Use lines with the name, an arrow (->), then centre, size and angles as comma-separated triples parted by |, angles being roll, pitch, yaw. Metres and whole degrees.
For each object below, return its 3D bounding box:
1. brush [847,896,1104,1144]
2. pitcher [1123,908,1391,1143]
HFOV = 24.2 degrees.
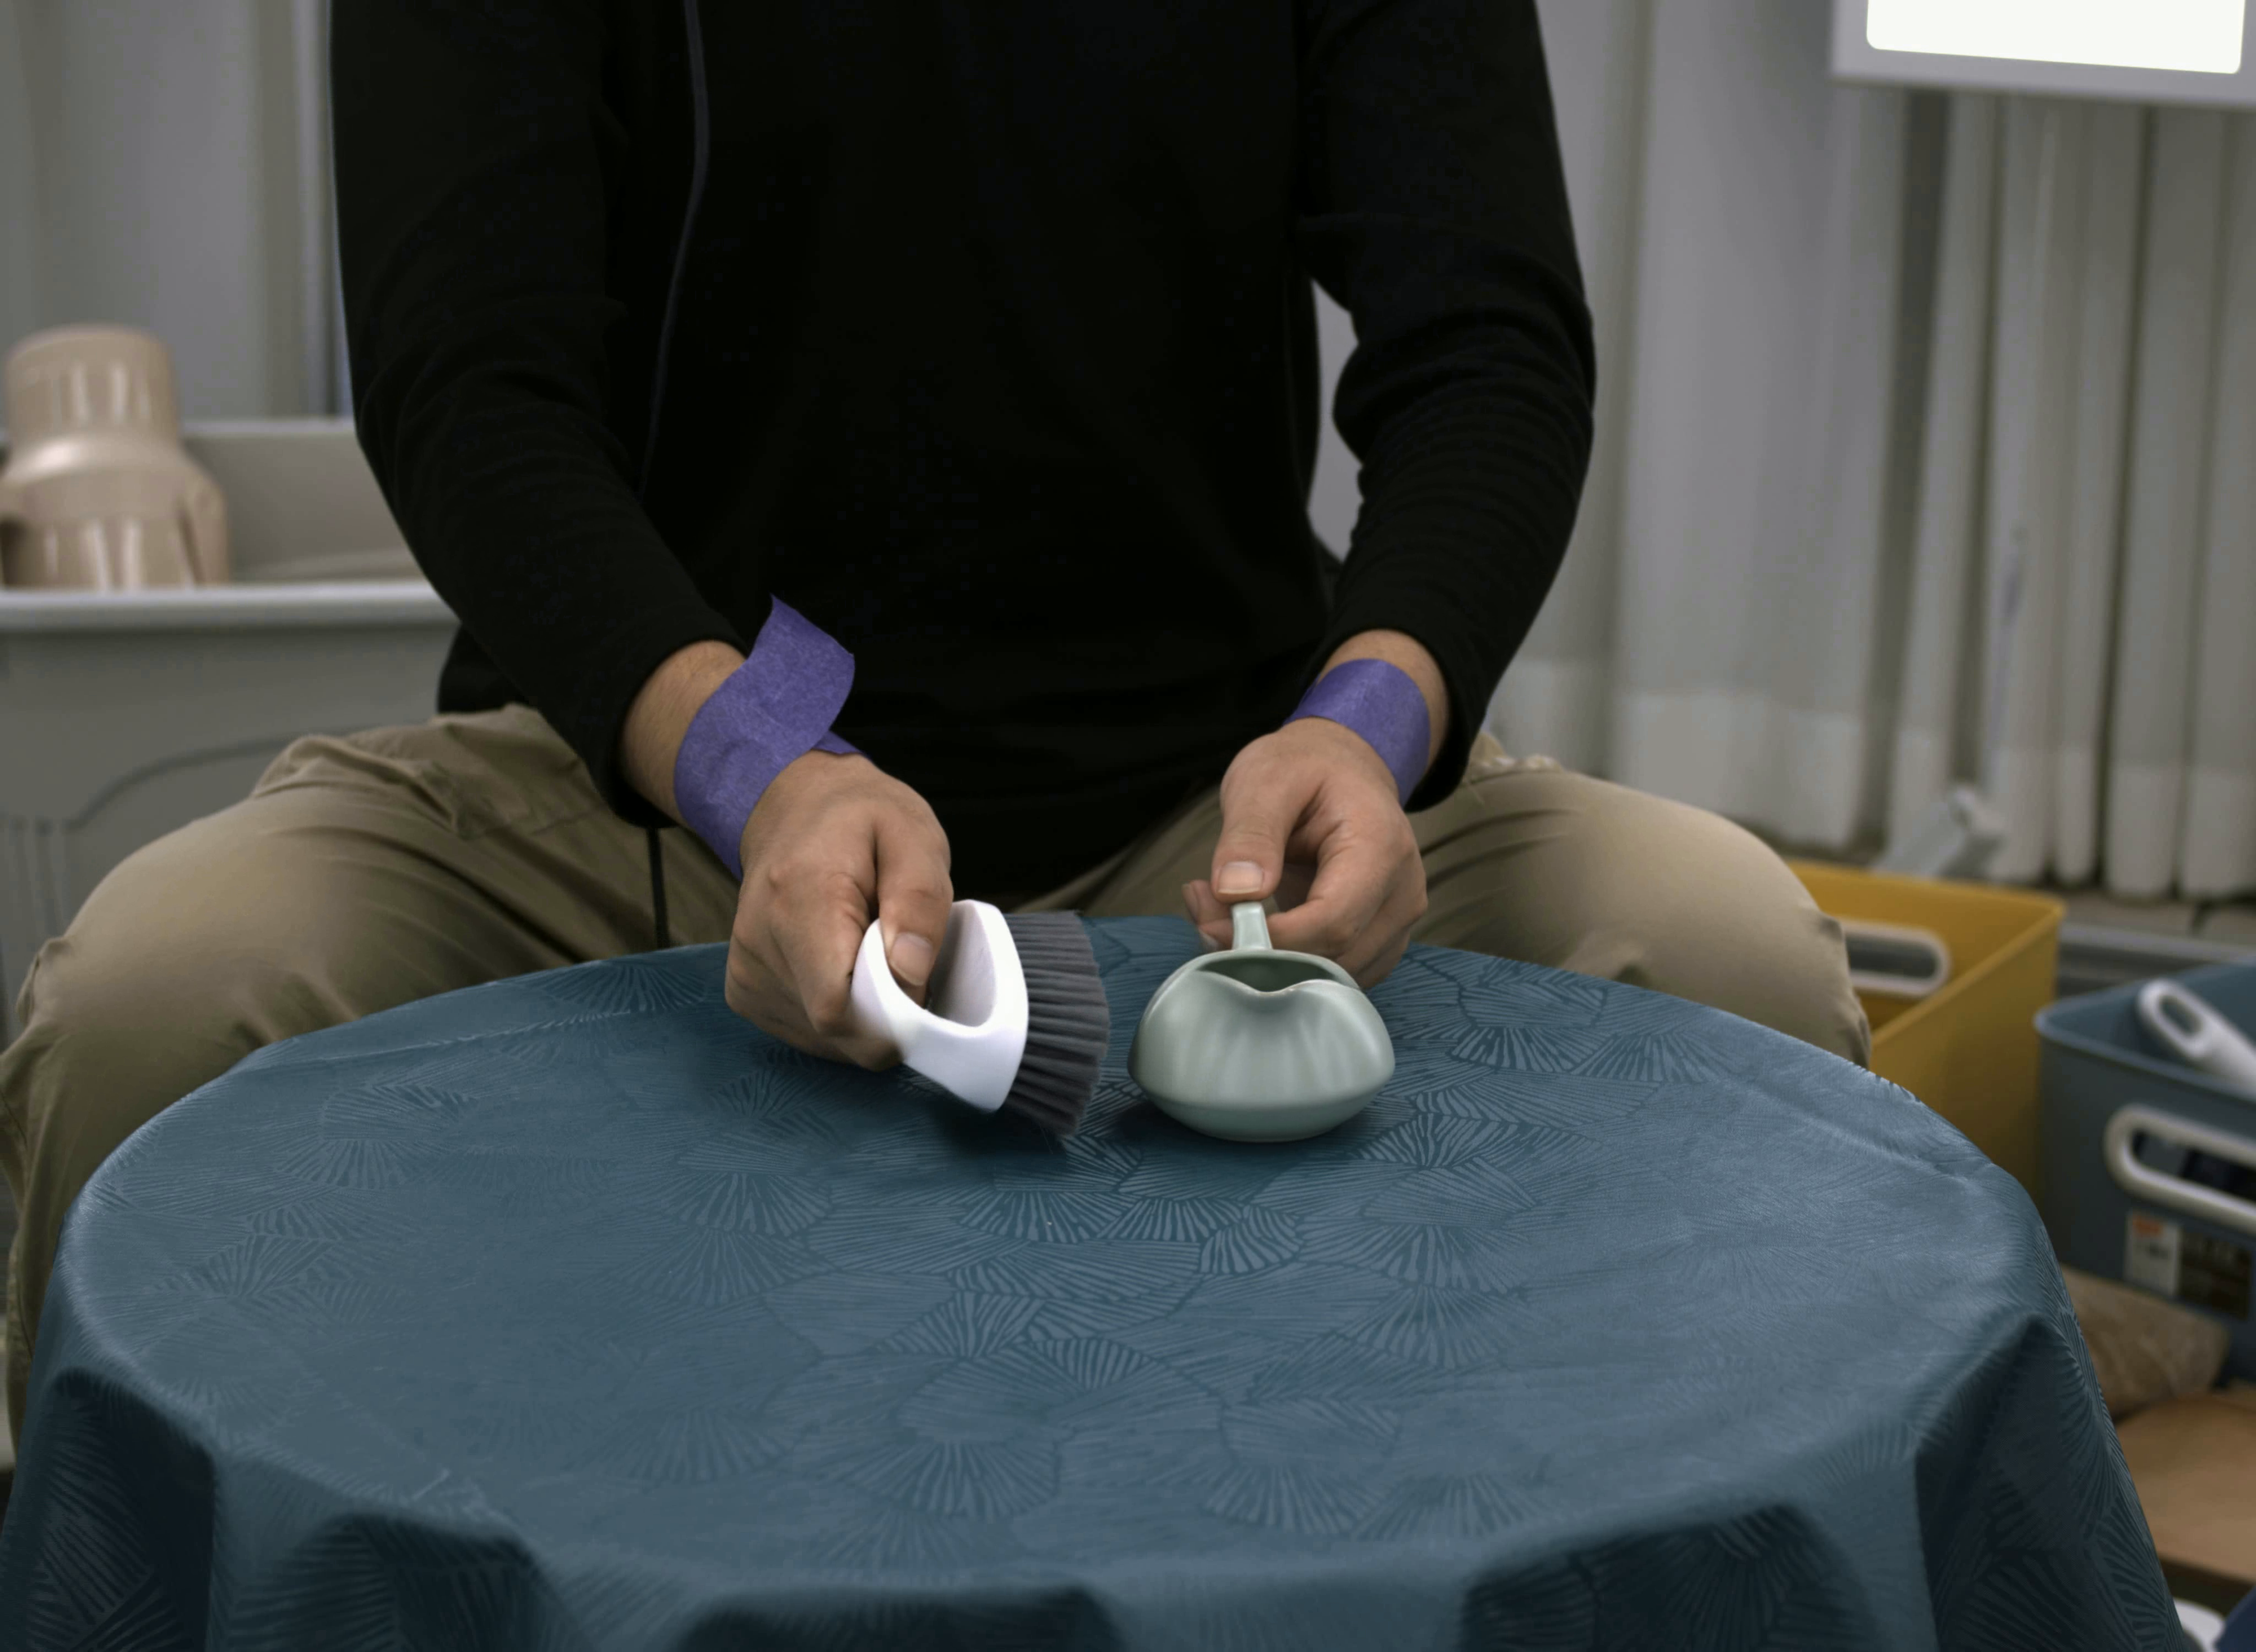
brush -> -0.053, 0.057, 1.676 | 0.073, 0.050, 0.098 | 14, 26, -18
pitcher -> 0.040, 0.065, 1.692 | 0.086, 0.061, 0.107 | -1, 13, -6
